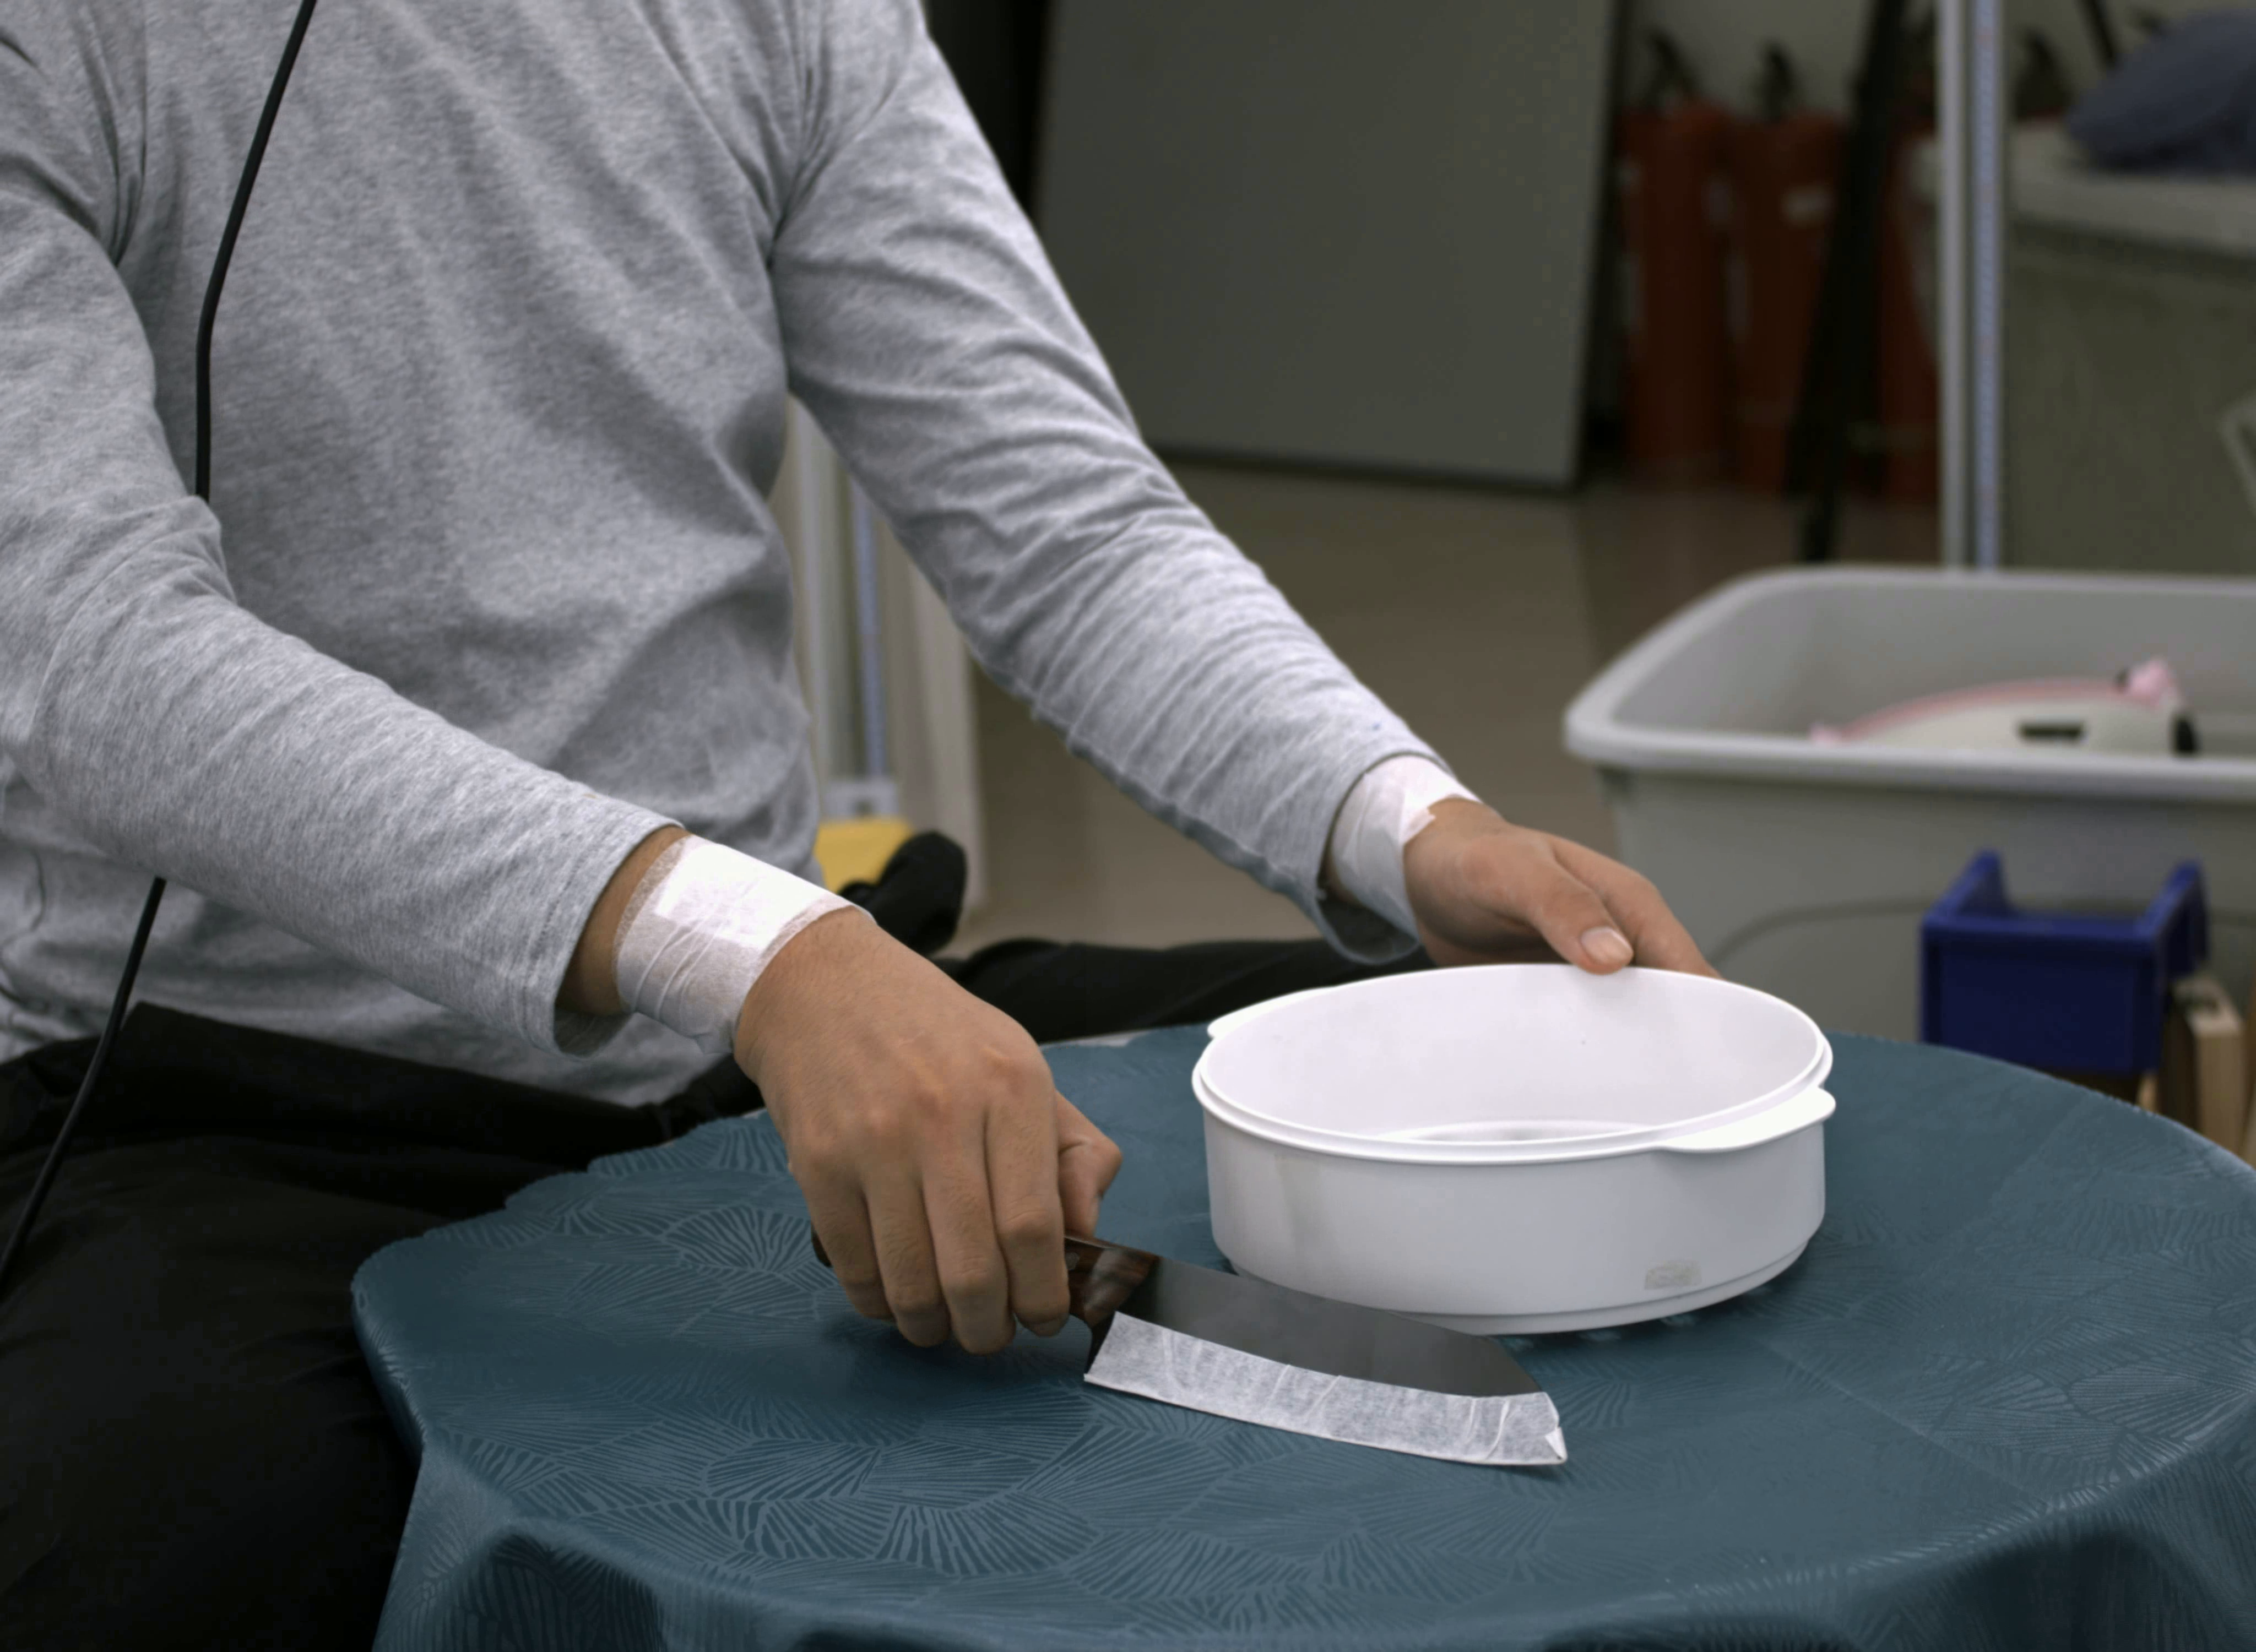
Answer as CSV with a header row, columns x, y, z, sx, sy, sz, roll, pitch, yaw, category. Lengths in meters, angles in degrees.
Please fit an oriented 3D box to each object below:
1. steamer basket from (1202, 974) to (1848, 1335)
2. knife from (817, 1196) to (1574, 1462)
x,y,z,sx,sy,sz,roll,pitch,yaw,category
0.124,0.102,1.676,0.197,0.070,0.233,-15,16,-40,steamer basket
0.015,0.147,1.586,0.291,0.050,0.020,12,-24,40,knife
